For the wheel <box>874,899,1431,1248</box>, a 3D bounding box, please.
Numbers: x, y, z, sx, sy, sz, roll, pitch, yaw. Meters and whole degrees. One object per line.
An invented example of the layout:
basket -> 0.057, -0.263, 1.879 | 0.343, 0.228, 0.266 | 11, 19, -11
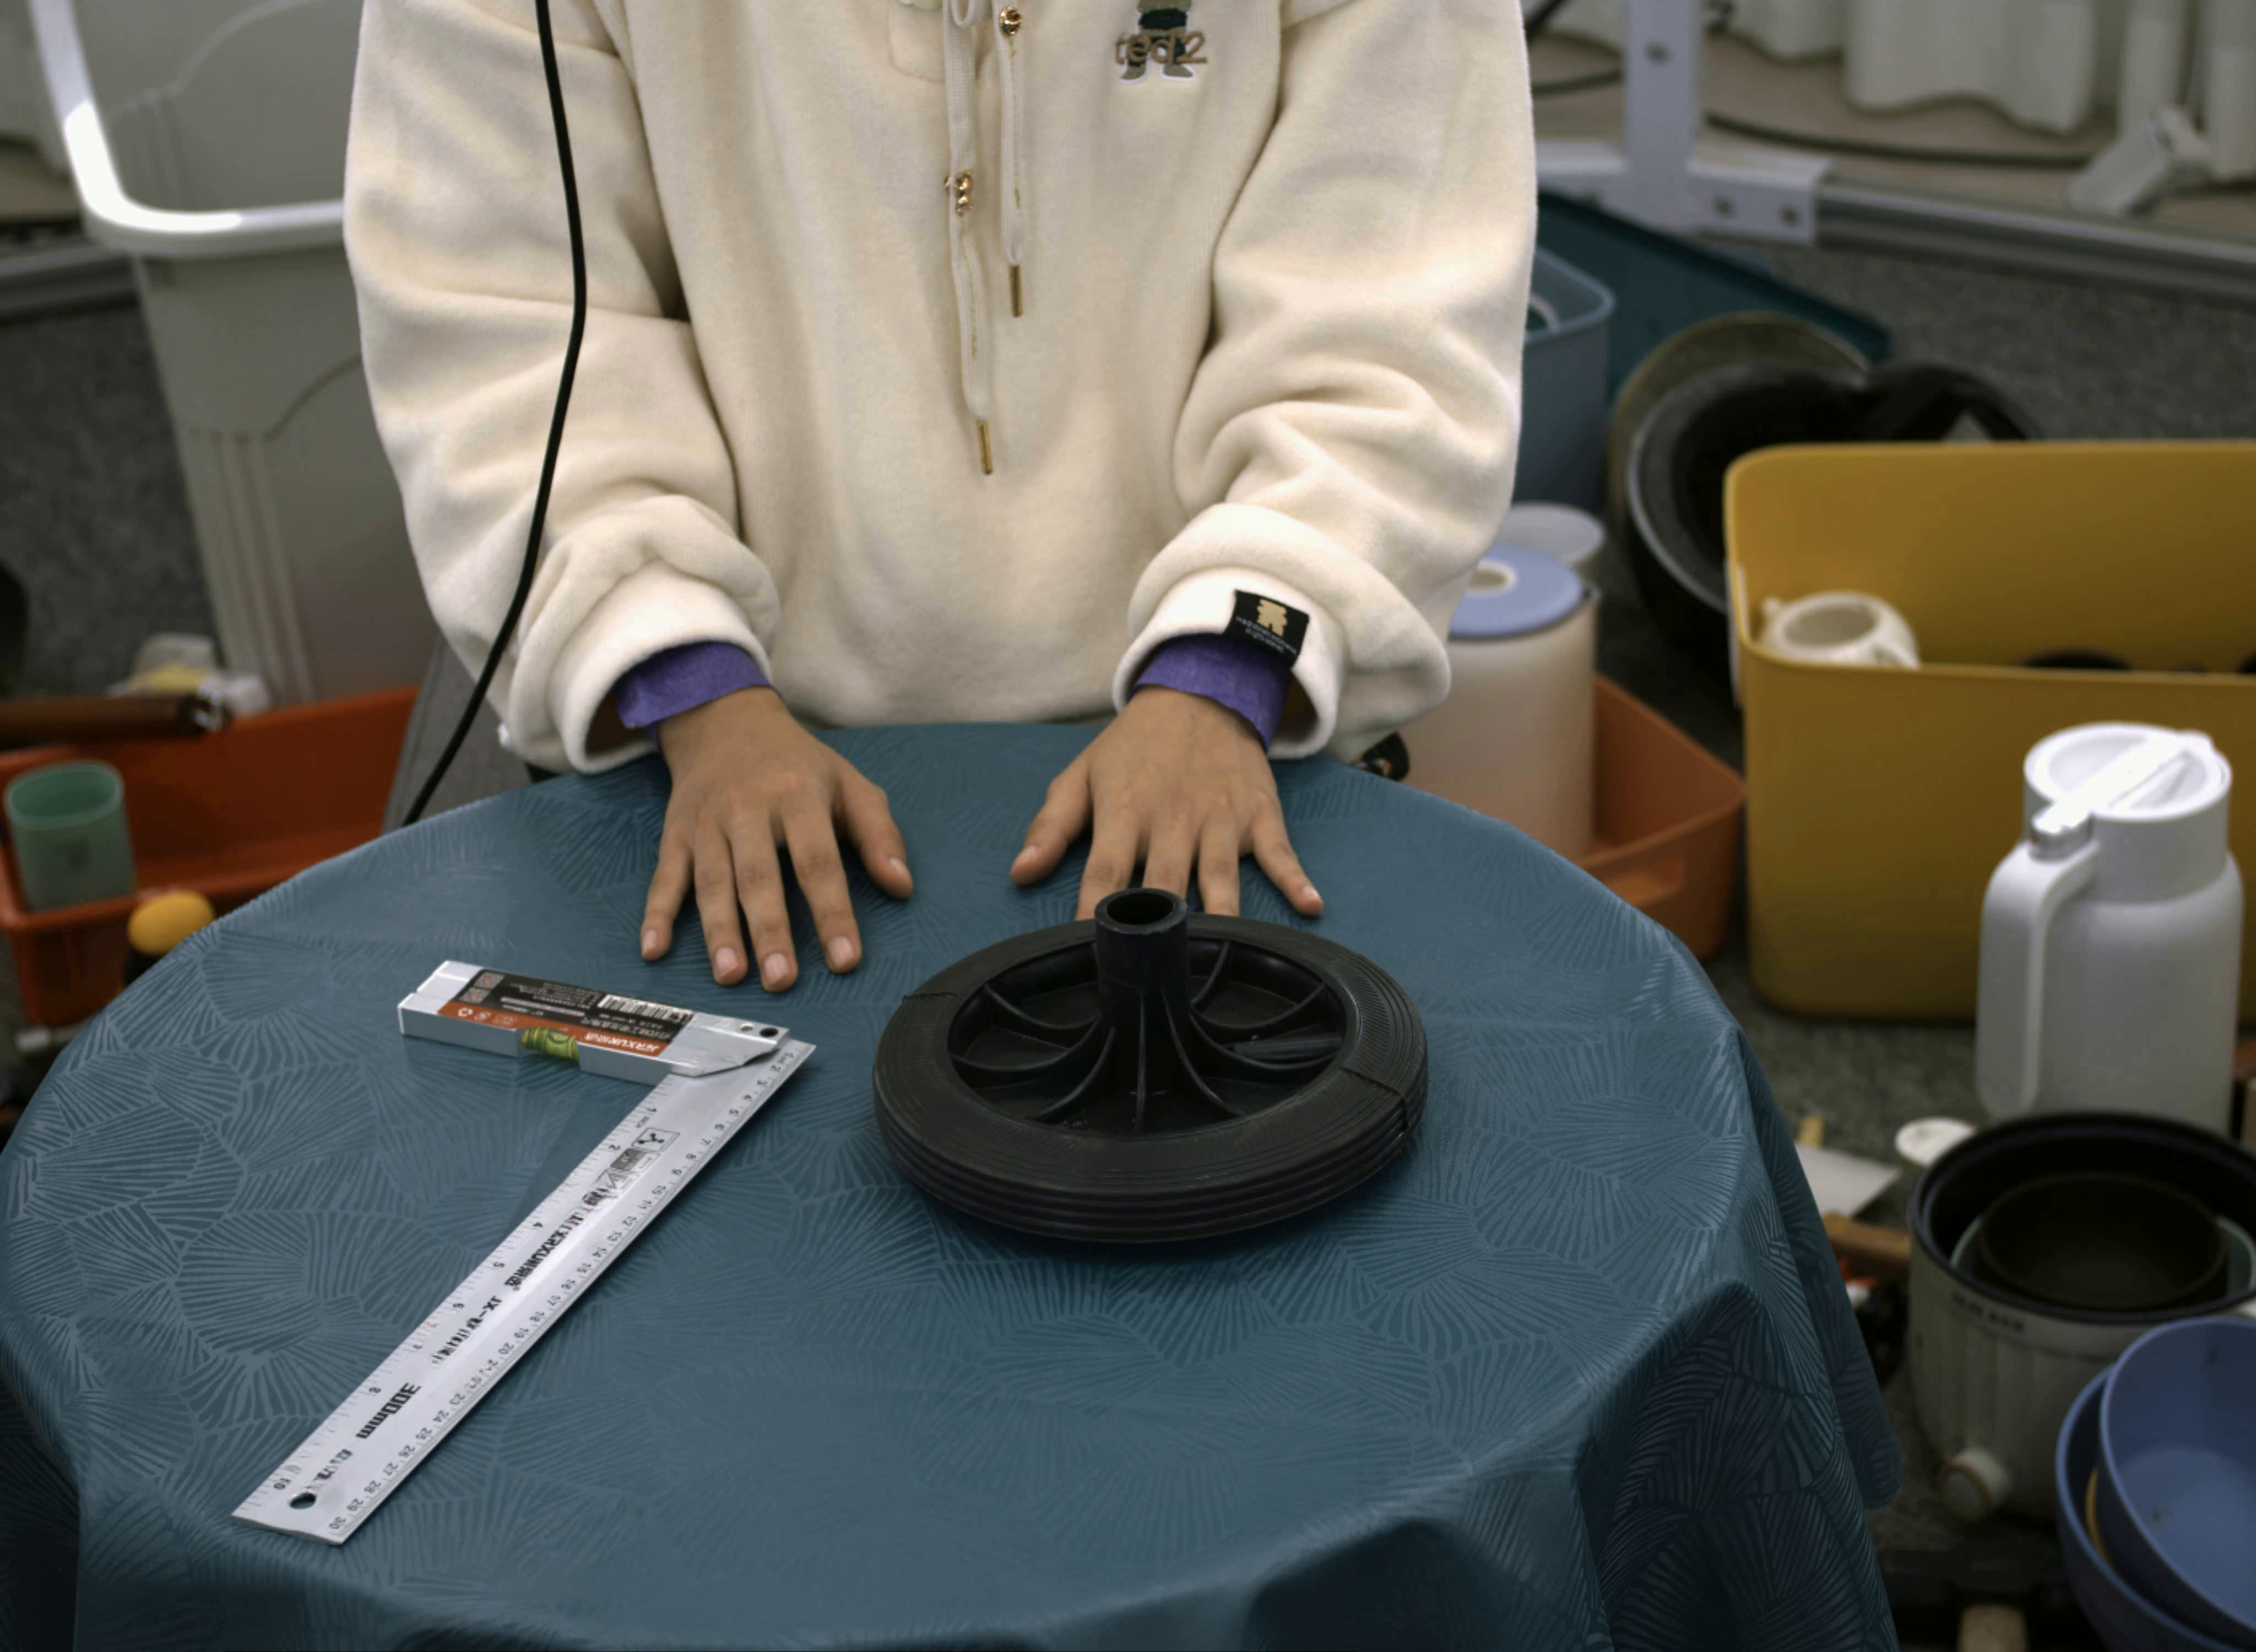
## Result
wheel -> 0.007, 0.066, 1.886 | 0.191, 0.078, 0.188 | -17, 30, -24

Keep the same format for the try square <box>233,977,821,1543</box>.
try square -> -0.238, 0.137, 1.851 | 0.151, 0.016, 0.318 | 7, 30, 25
